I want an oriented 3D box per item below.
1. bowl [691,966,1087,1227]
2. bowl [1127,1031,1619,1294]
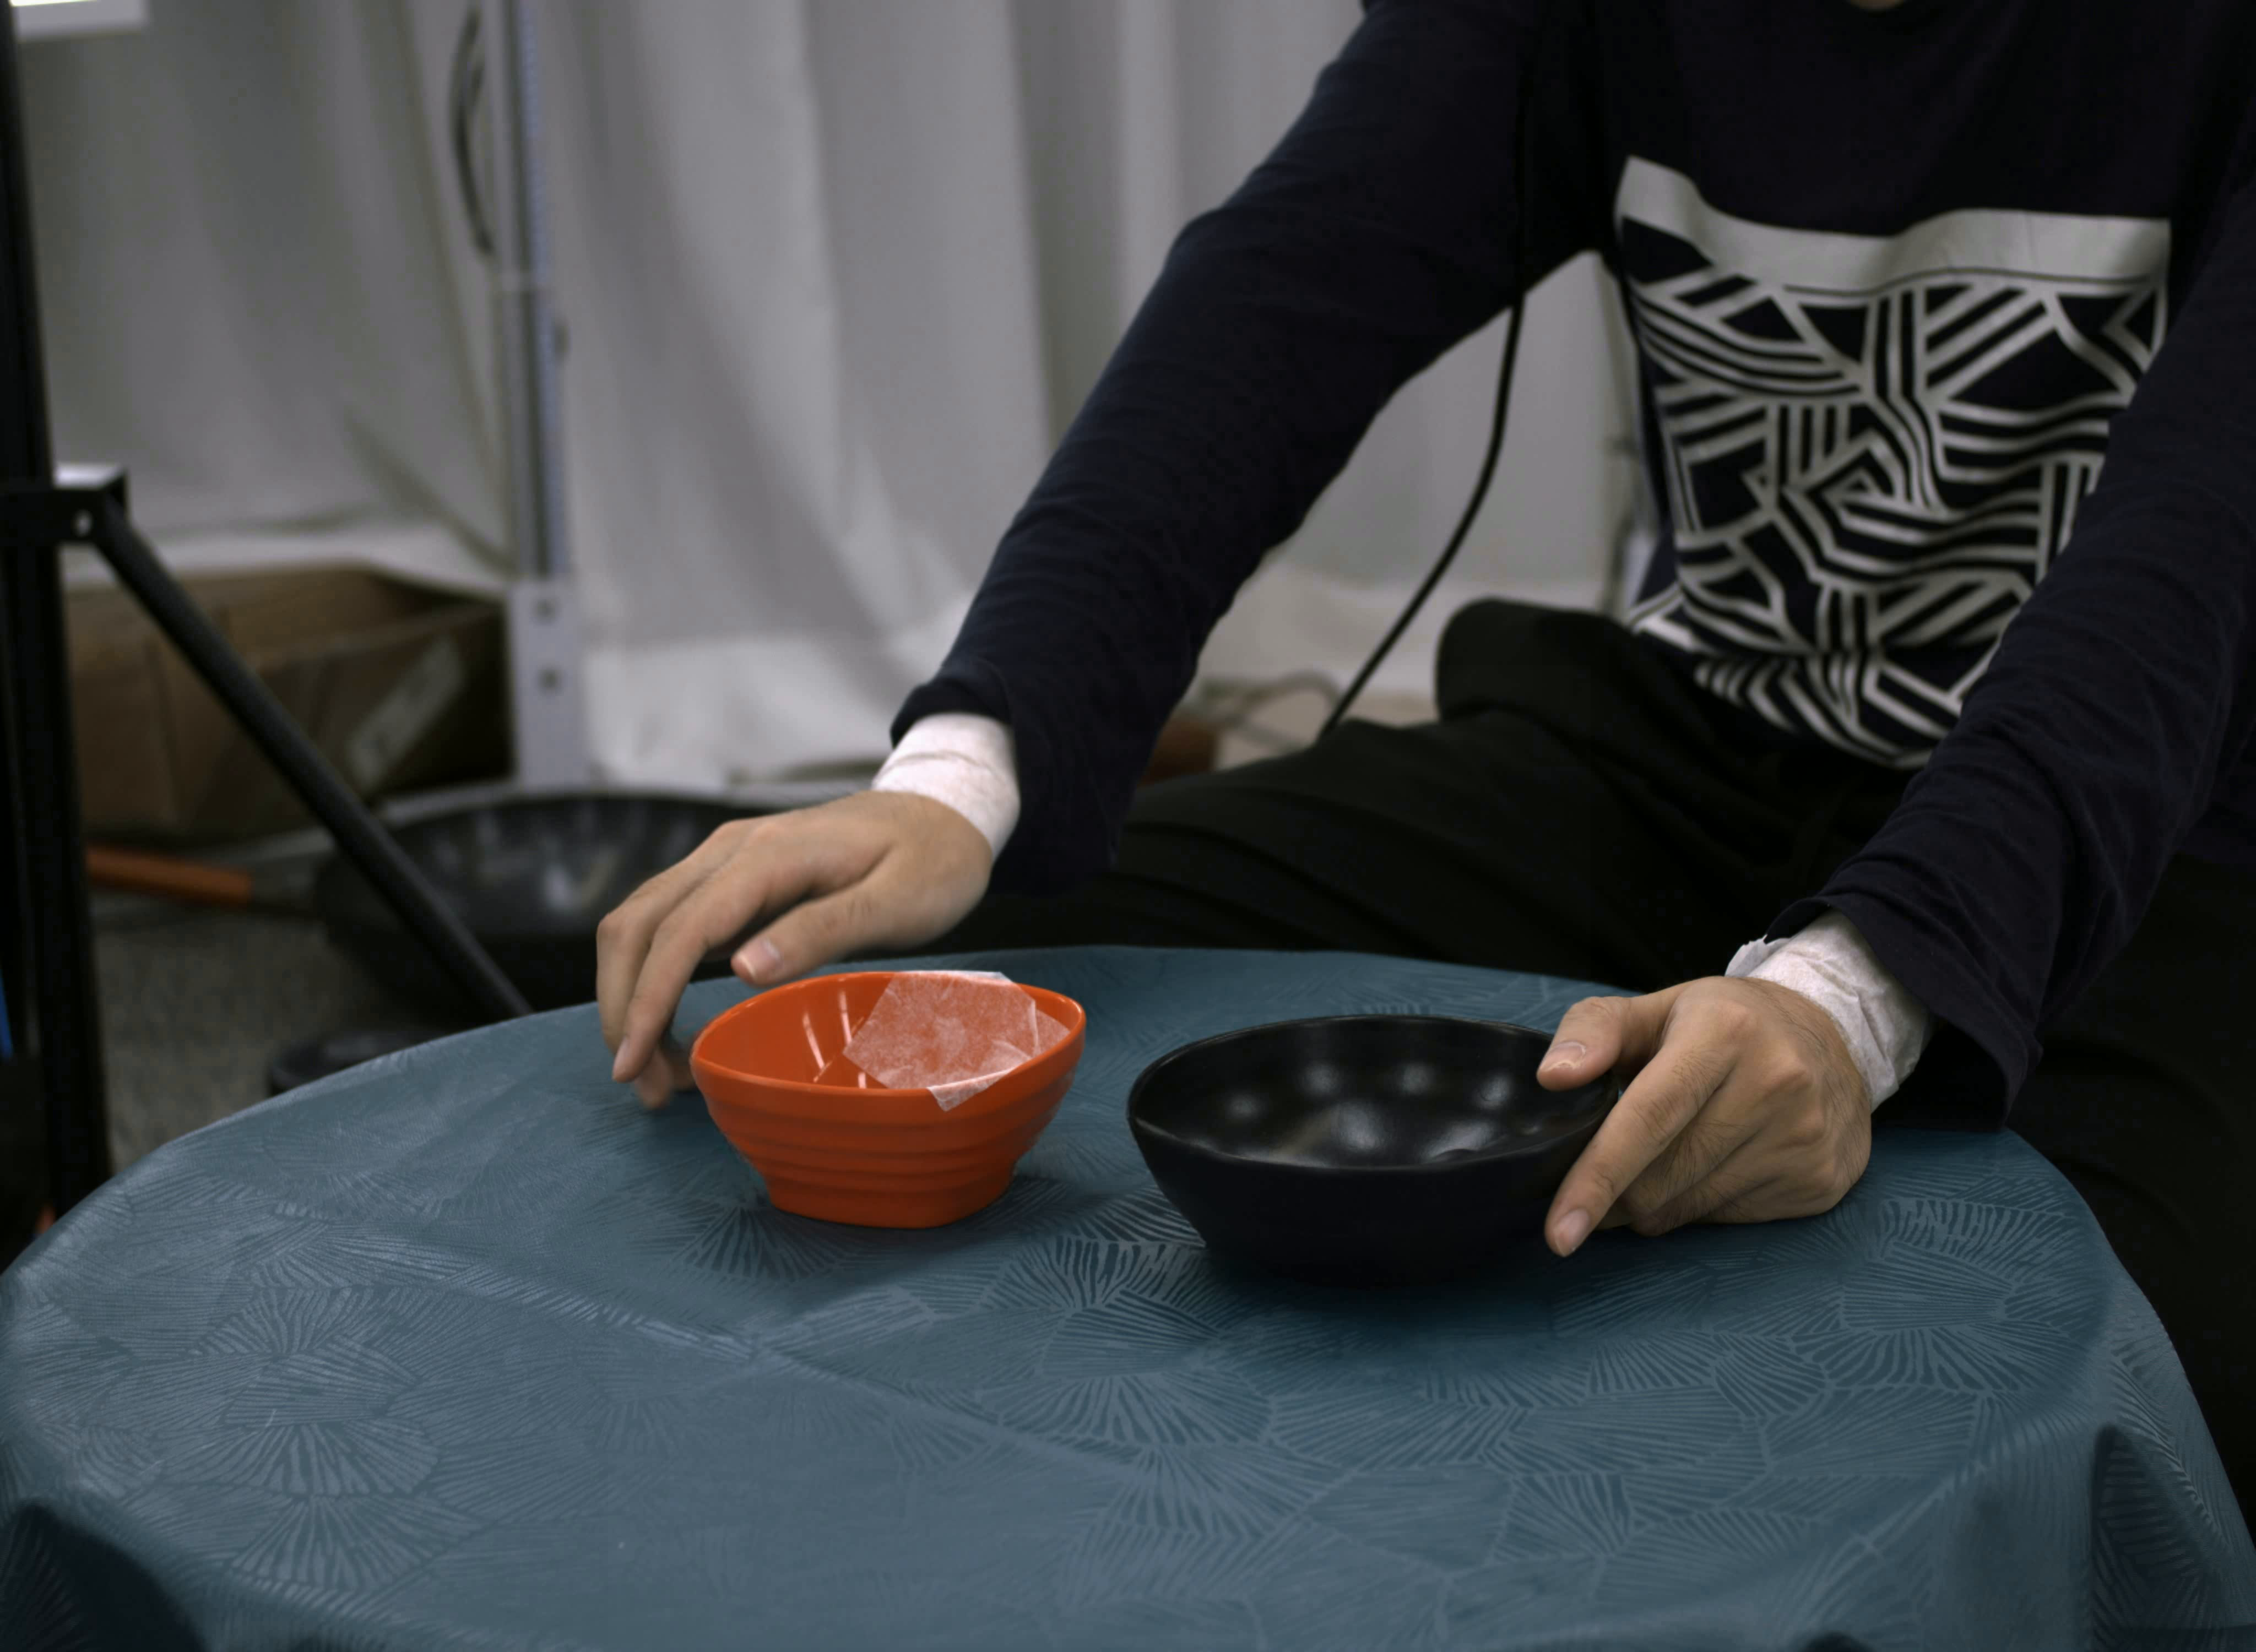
[{"bbox_3d":[-0.068,0.082,1.569,0.118,0.051,0.119,-4,16,0],"label":"bowl"},{"bbox_3d":[0.069,0.099,1.501,0.139,0.050,0.140,-1,12,-1],"label":"bowl"}]
